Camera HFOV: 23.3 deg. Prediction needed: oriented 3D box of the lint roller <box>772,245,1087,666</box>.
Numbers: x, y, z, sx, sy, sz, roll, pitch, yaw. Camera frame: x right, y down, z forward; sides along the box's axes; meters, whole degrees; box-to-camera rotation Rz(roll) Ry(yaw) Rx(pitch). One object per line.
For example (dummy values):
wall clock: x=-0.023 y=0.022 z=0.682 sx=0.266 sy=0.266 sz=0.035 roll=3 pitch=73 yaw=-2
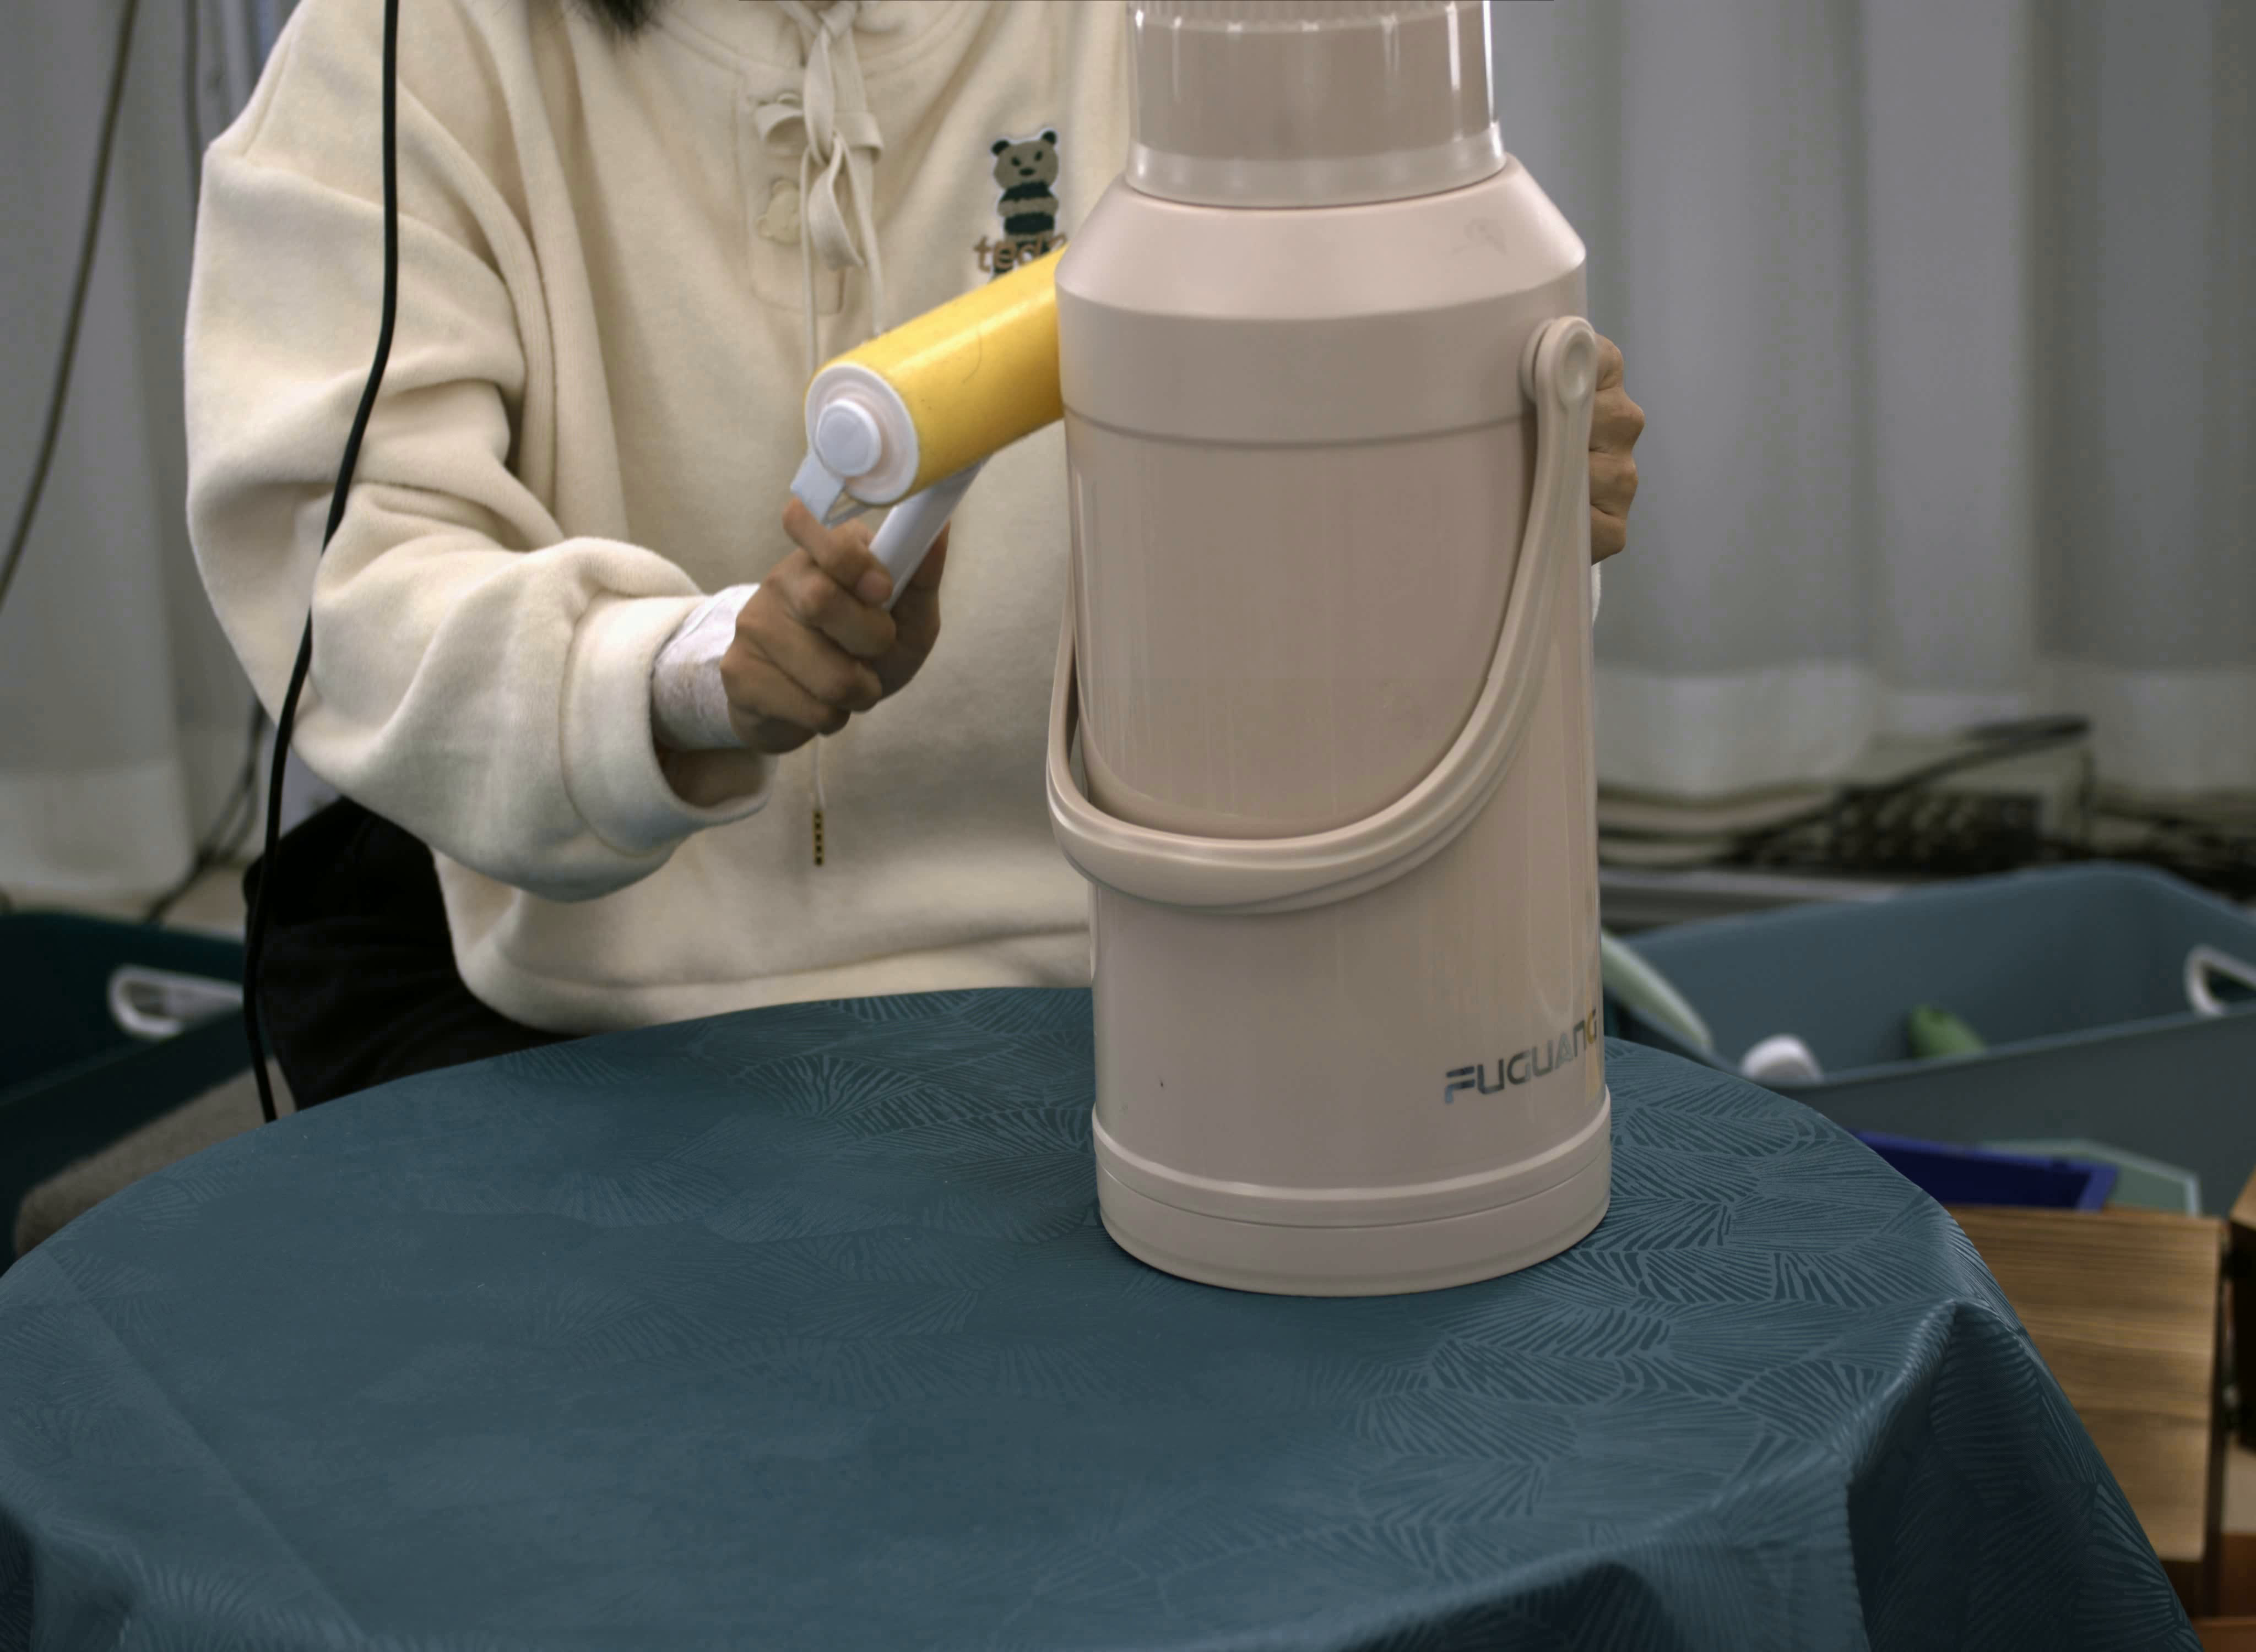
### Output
lint roller: x=-0.067 y=-0.114 z=1.729 sx=0.174 sy=0.051 sz=0.191 roll=-29 pitch=-5 yaw=-44

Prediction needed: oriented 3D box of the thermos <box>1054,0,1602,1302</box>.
thermos: x=0.069 y=-0.076 z=1.639 sx=0.176 sy=0.404 sz=0.207 roll=8 pitch=19 yaw=35
